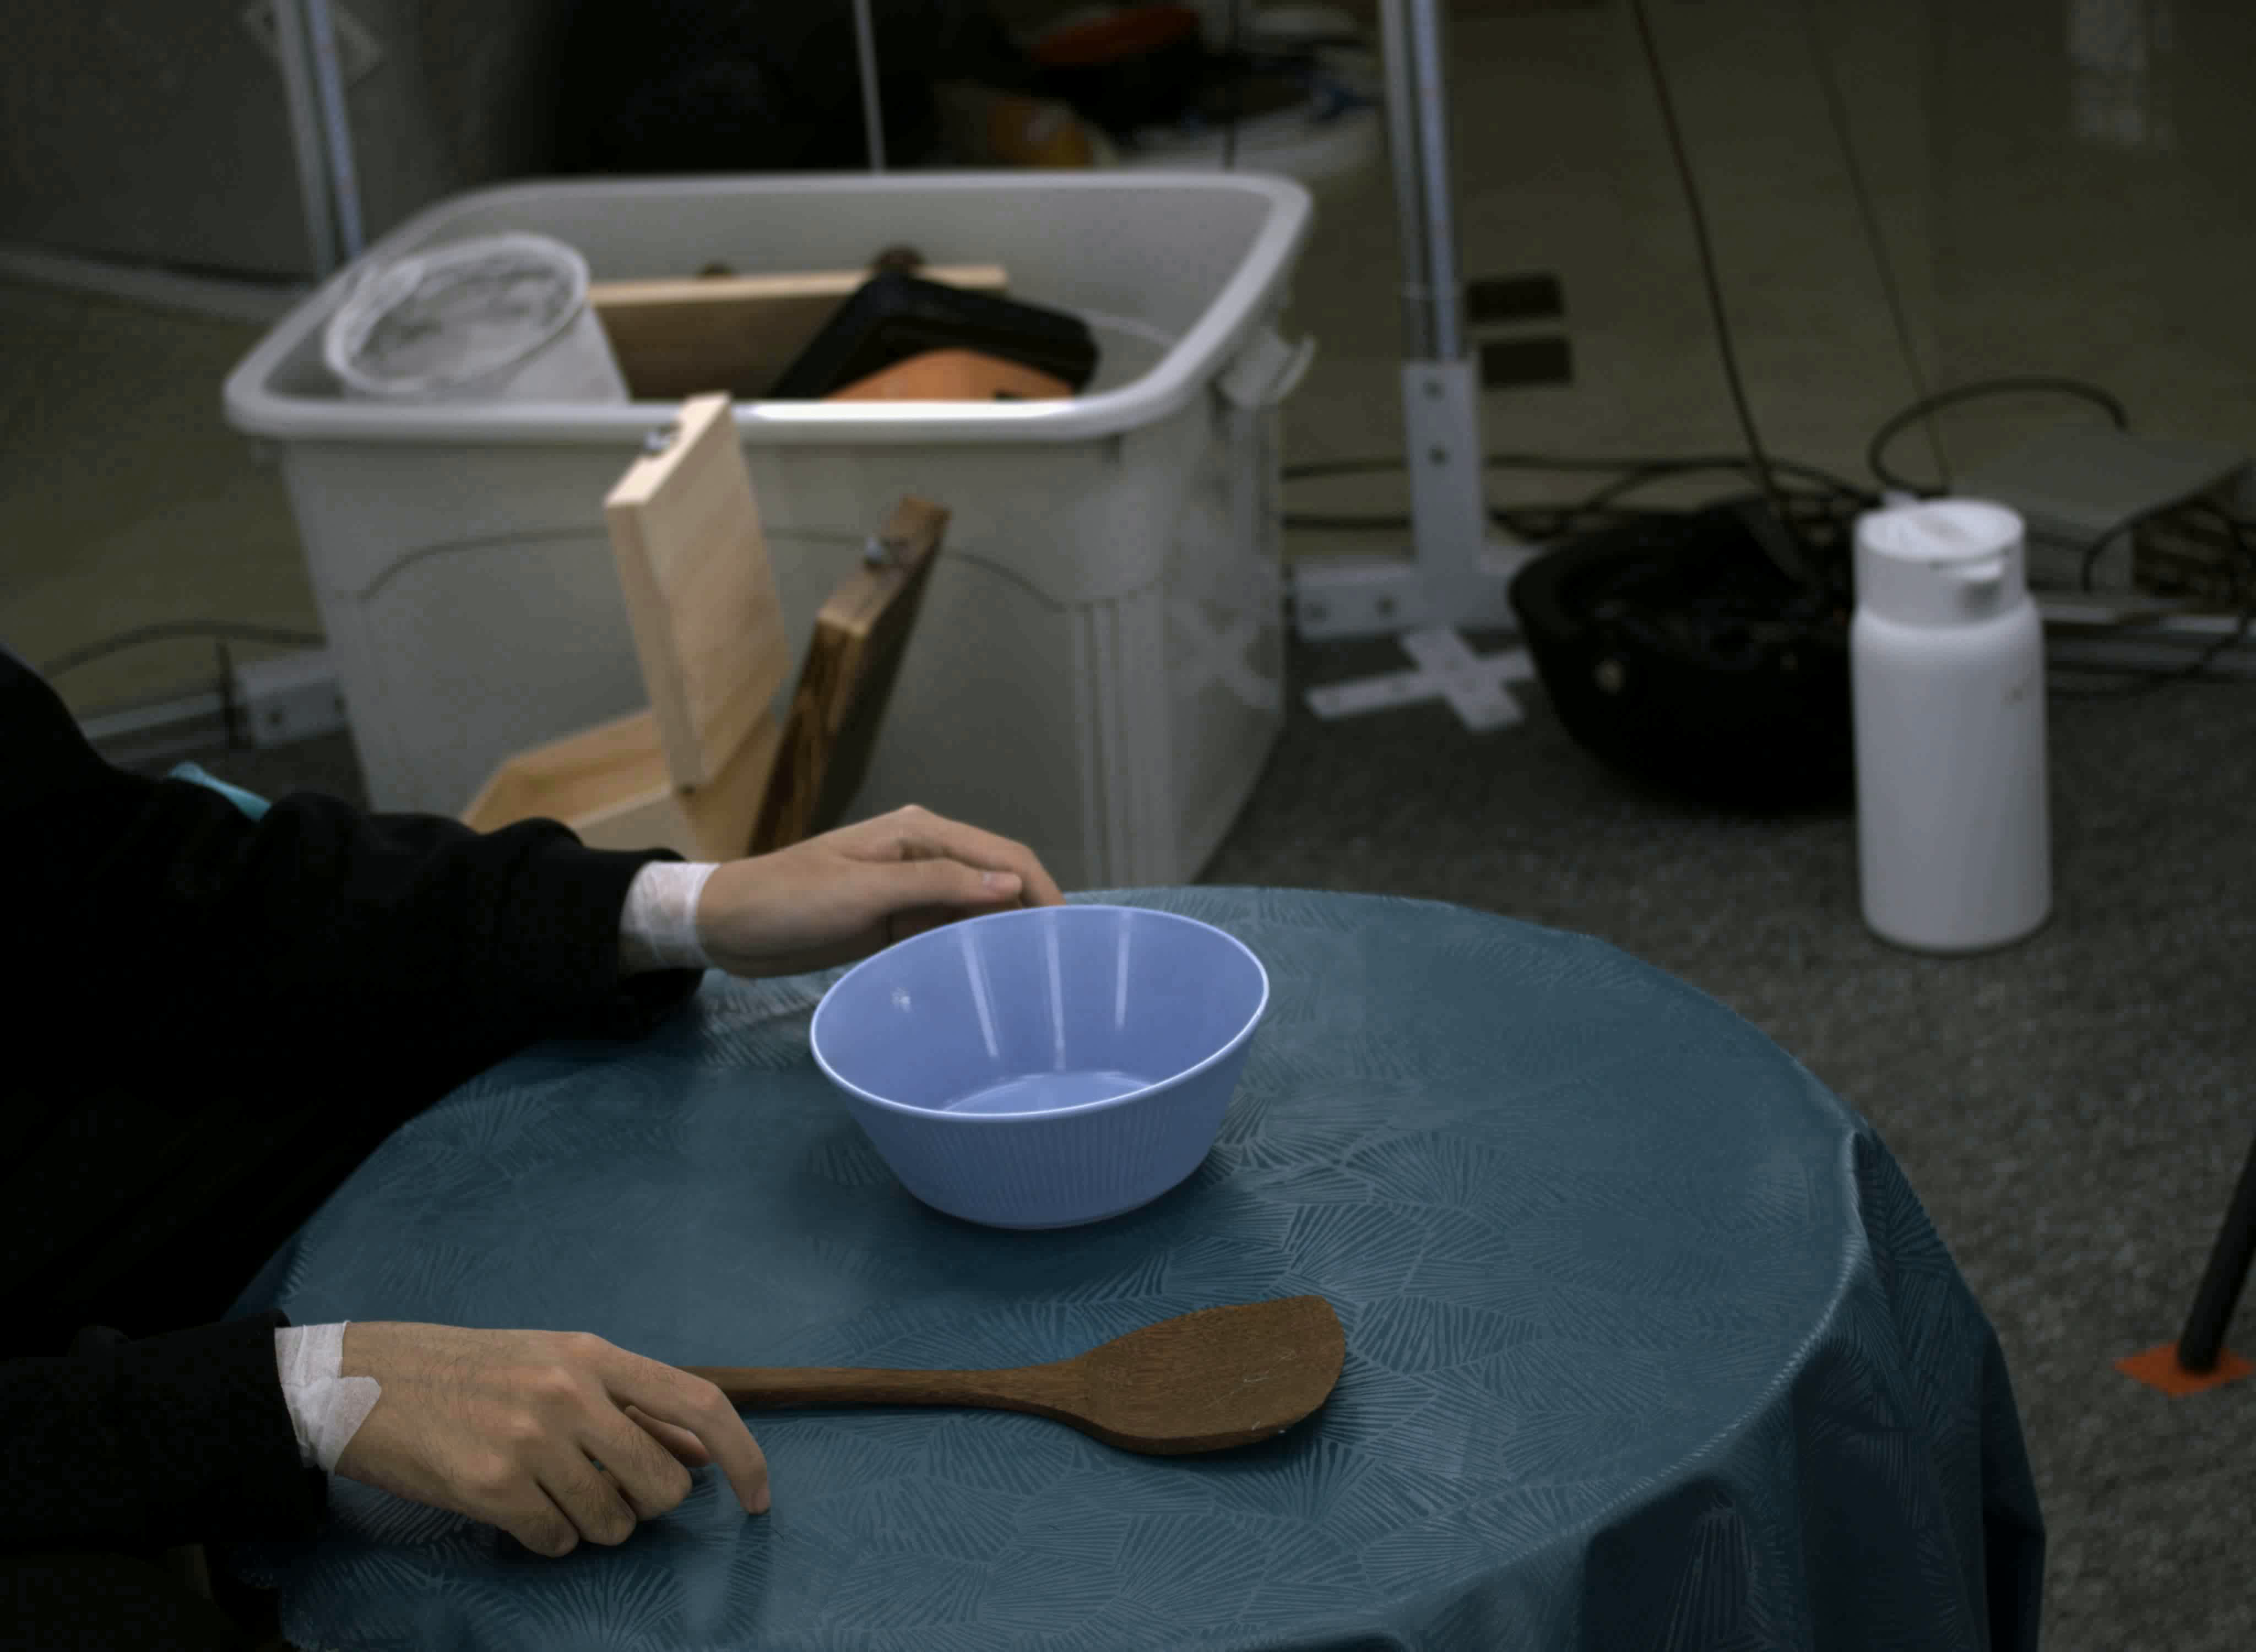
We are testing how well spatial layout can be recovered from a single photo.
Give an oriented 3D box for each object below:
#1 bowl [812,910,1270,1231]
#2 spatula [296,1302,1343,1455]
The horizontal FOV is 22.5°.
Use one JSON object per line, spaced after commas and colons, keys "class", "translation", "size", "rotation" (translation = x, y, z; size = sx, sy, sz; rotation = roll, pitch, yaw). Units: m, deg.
{"class": "bowl", "translation": [-0.029, 0.099, 2.163], "size": [0.176, 0.071, 0.173], "rotation": [-6, 24, 3]}
{"class": "spatula", "translation": [-0.114, 0.201, 2.032], "size": [0.385, 0.016, 0.095], "rotation": [-2, 25, 10]}
